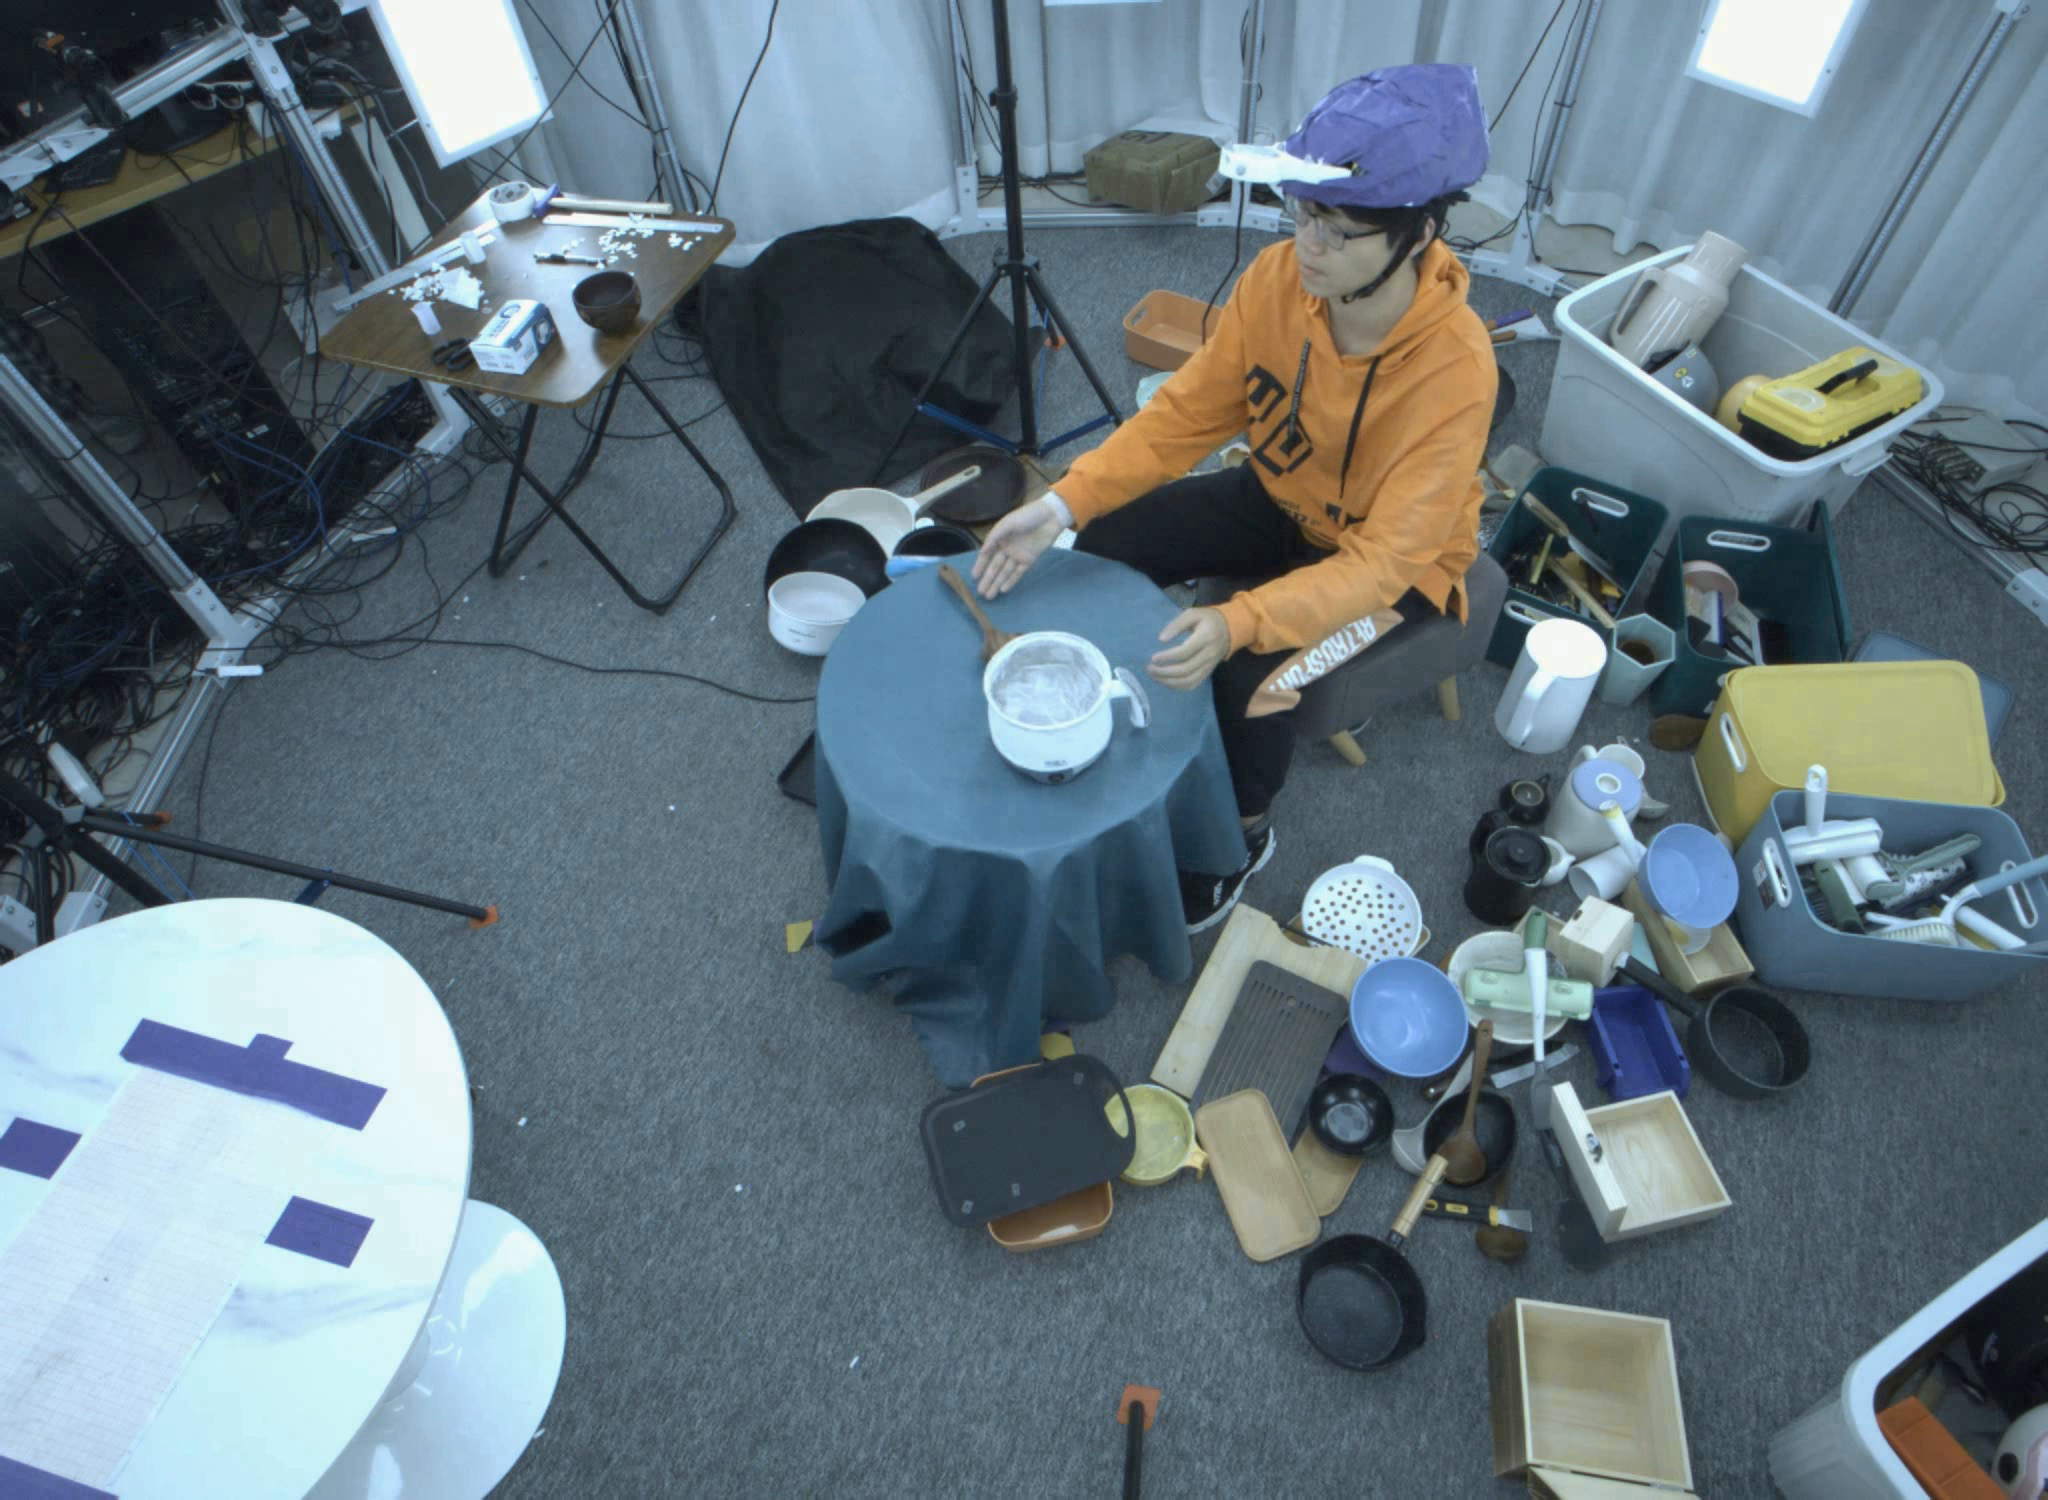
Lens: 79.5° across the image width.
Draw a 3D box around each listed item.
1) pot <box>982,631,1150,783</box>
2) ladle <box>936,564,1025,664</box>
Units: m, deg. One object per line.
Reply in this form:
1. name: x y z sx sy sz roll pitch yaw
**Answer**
1. pot: 0.063 -0.064 1.745 0.234 0.138 0.176 -7 55 -1
2. ladle: -0.078 -0.225 1.910 0.077 0.066 0.255 -23 57 -16
